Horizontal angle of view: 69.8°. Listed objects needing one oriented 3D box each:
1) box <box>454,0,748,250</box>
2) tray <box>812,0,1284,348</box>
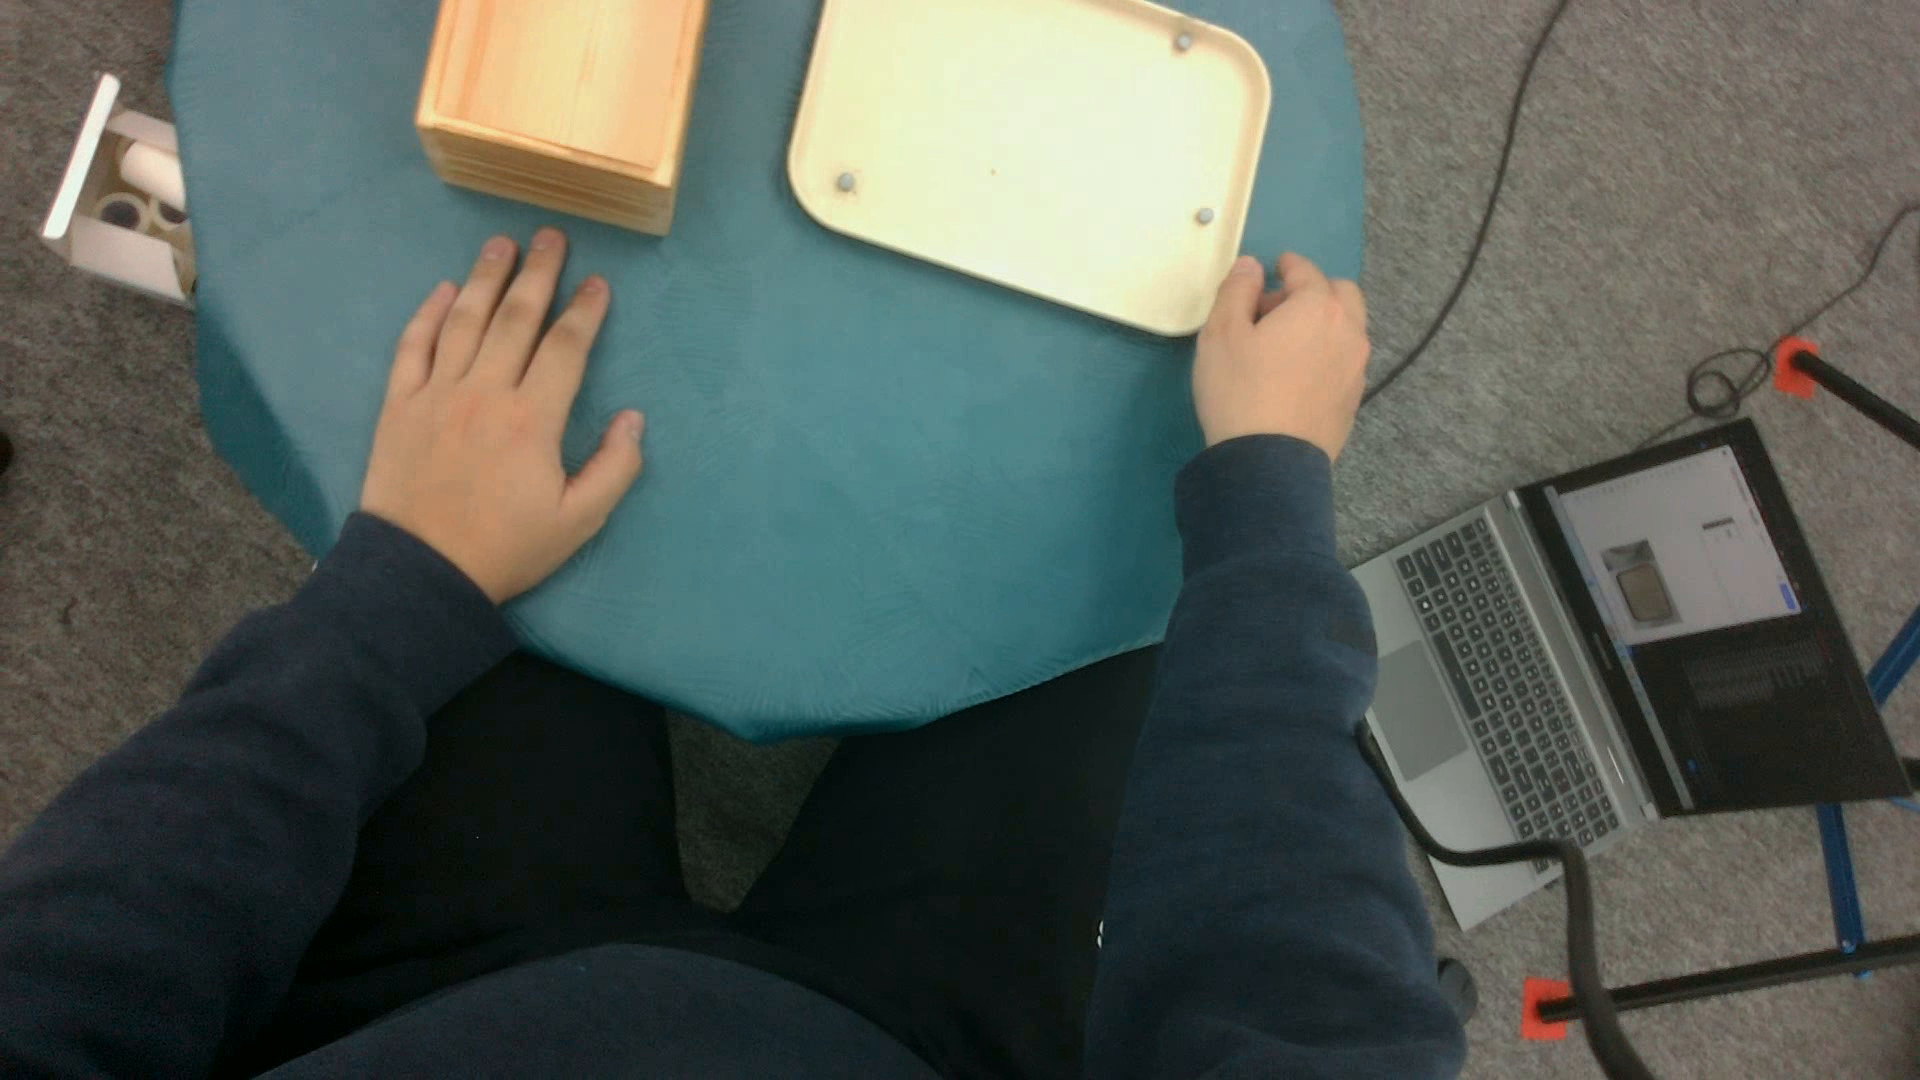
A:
[{"bbox_3d":[-0.157,-0.260,0.655,0.107,0.080,0.211,12,83,-11],"label":"box"},{"bbox_3d":[0.050,-0.207,0.731,0.240,0.017,0.171,16,83,-12],"label":"tray"}]
